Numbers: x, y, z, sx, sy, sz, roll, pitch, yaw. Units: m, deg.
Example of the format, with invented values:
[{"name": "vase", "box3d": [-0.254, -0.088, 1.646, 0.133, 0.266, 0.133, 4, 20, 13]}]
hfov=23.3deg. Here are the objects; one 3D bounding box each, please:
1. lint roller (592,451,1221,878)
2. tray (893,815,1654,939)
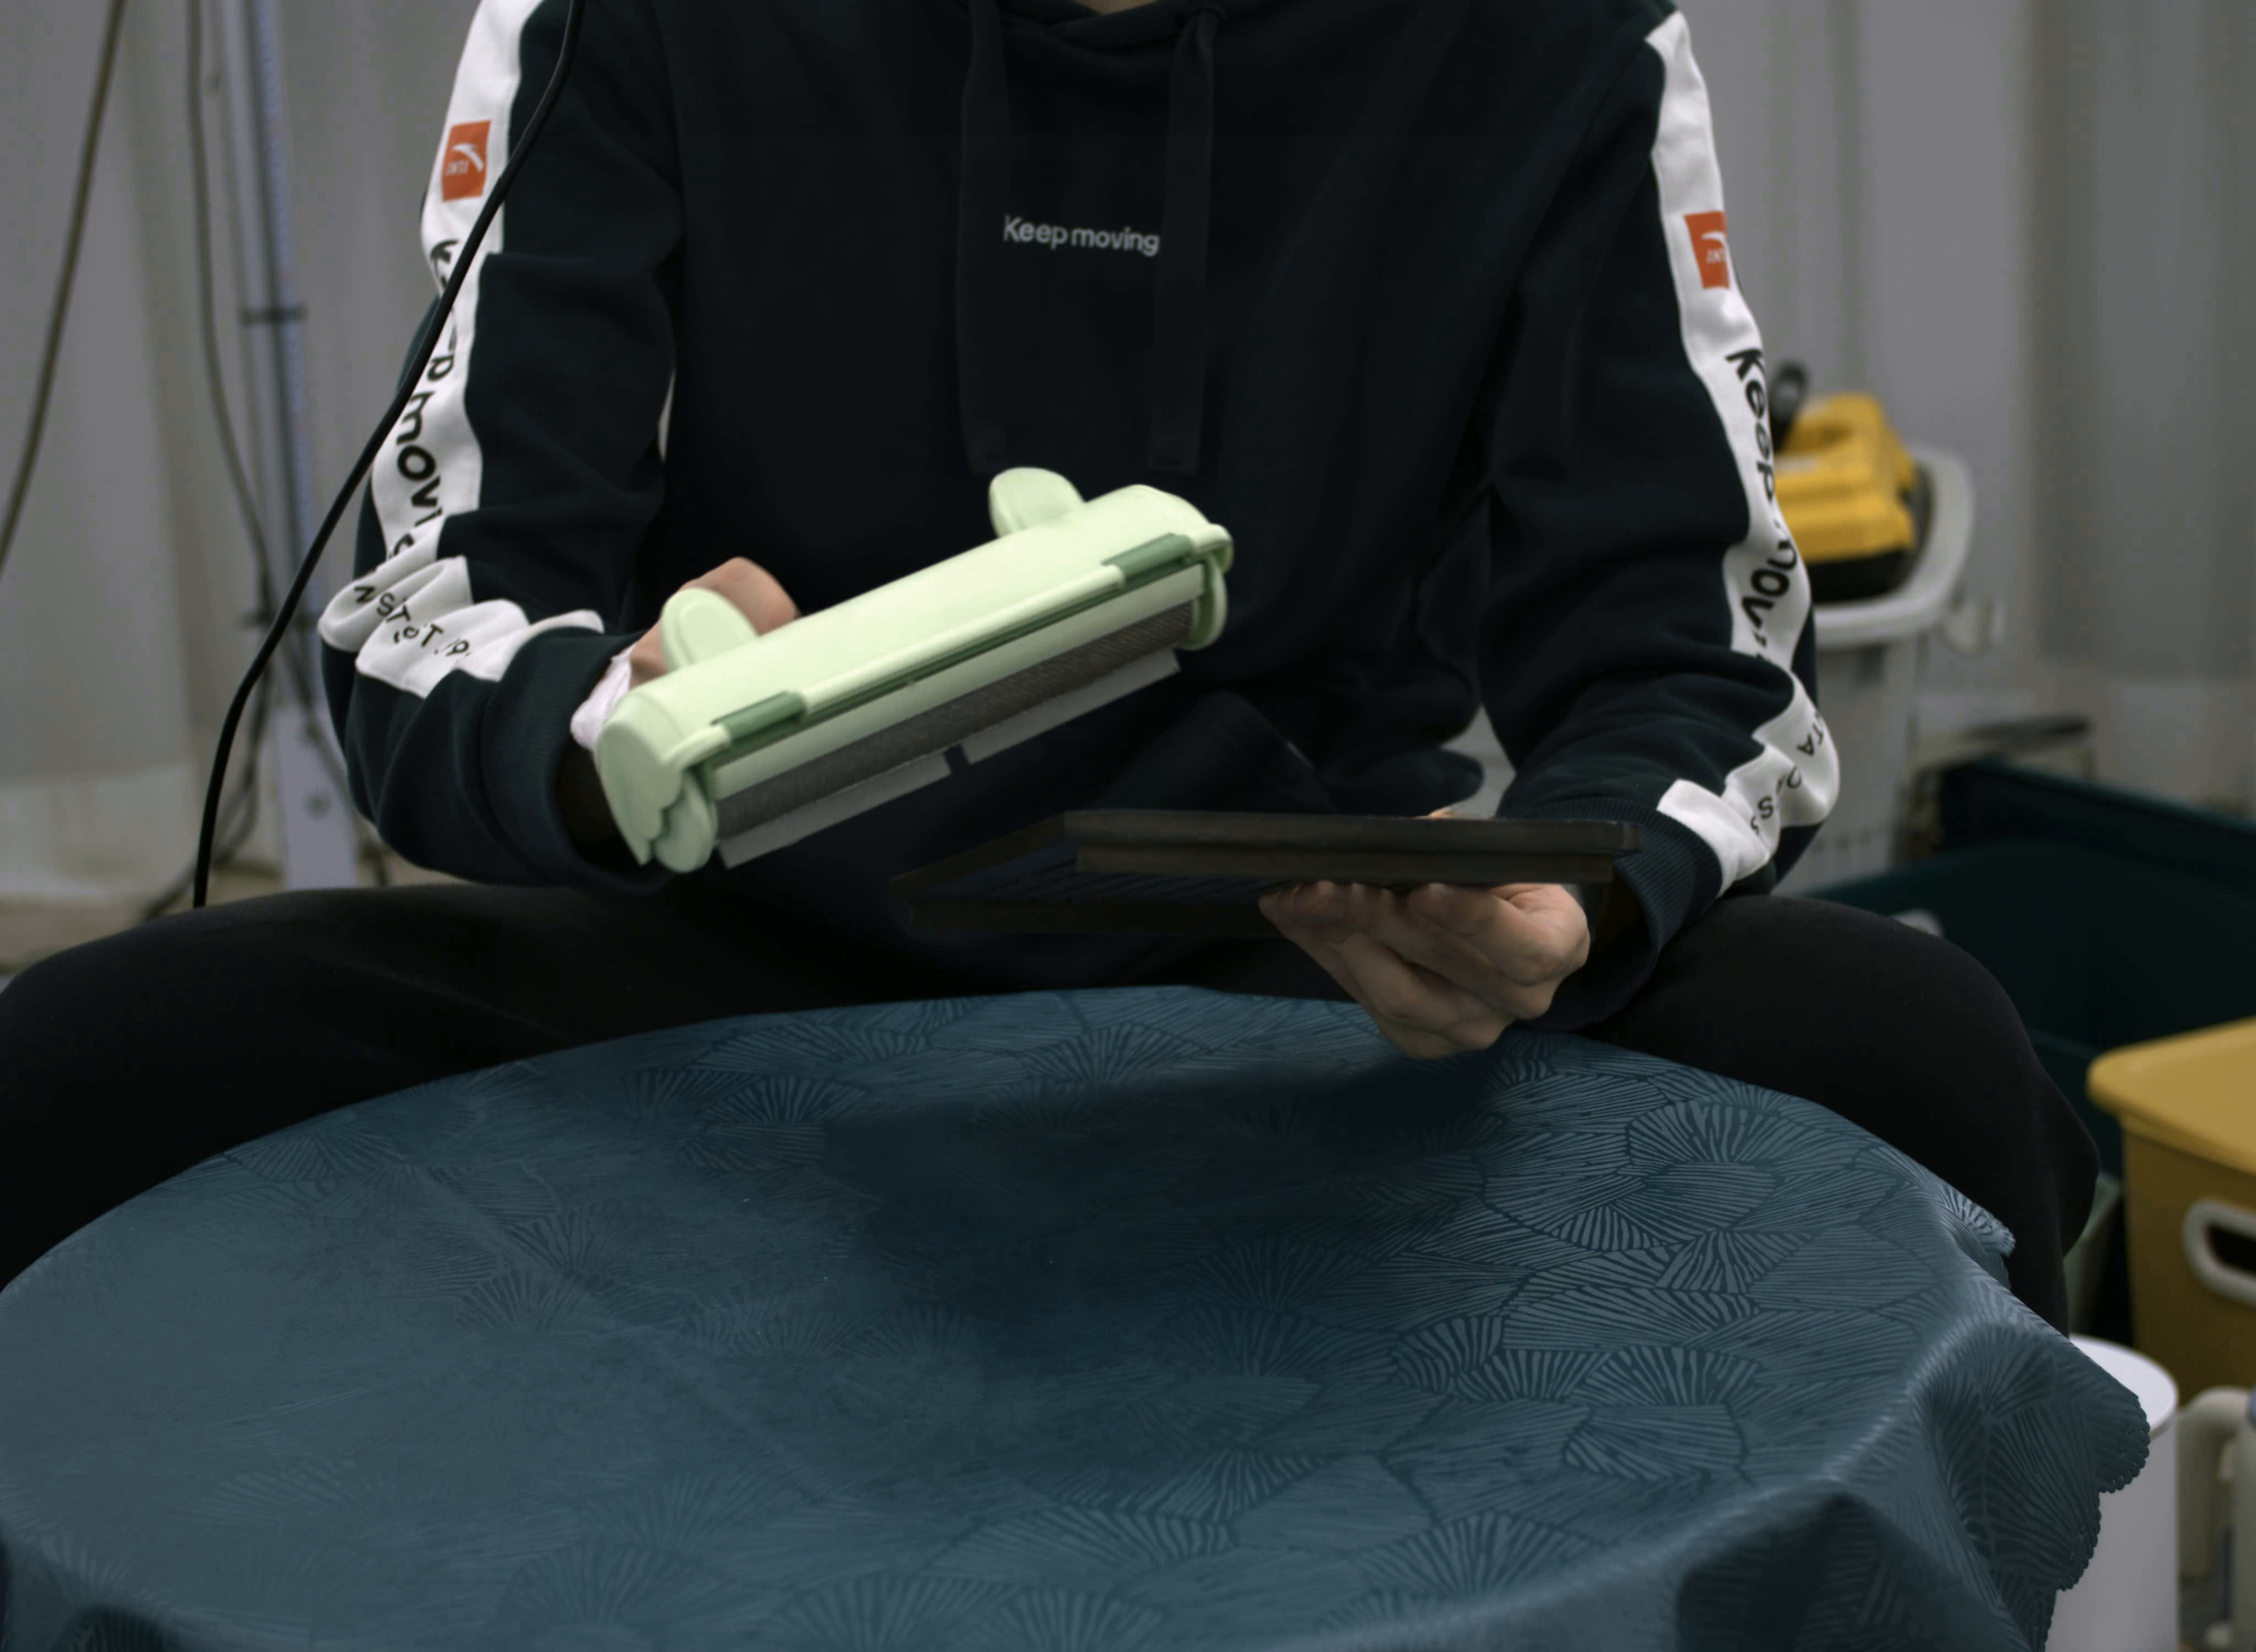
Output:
[{"name": "lint roller", "box3d": [-0.092, -0.051, 1.643, 0.198, 0.082, 0.184, -25, 12, -27]}, {"name": "tray", "box3d": [0.036, 0.018, 1.669, 0.169, 0.019, 0.305, 1, -5, -12]}]
